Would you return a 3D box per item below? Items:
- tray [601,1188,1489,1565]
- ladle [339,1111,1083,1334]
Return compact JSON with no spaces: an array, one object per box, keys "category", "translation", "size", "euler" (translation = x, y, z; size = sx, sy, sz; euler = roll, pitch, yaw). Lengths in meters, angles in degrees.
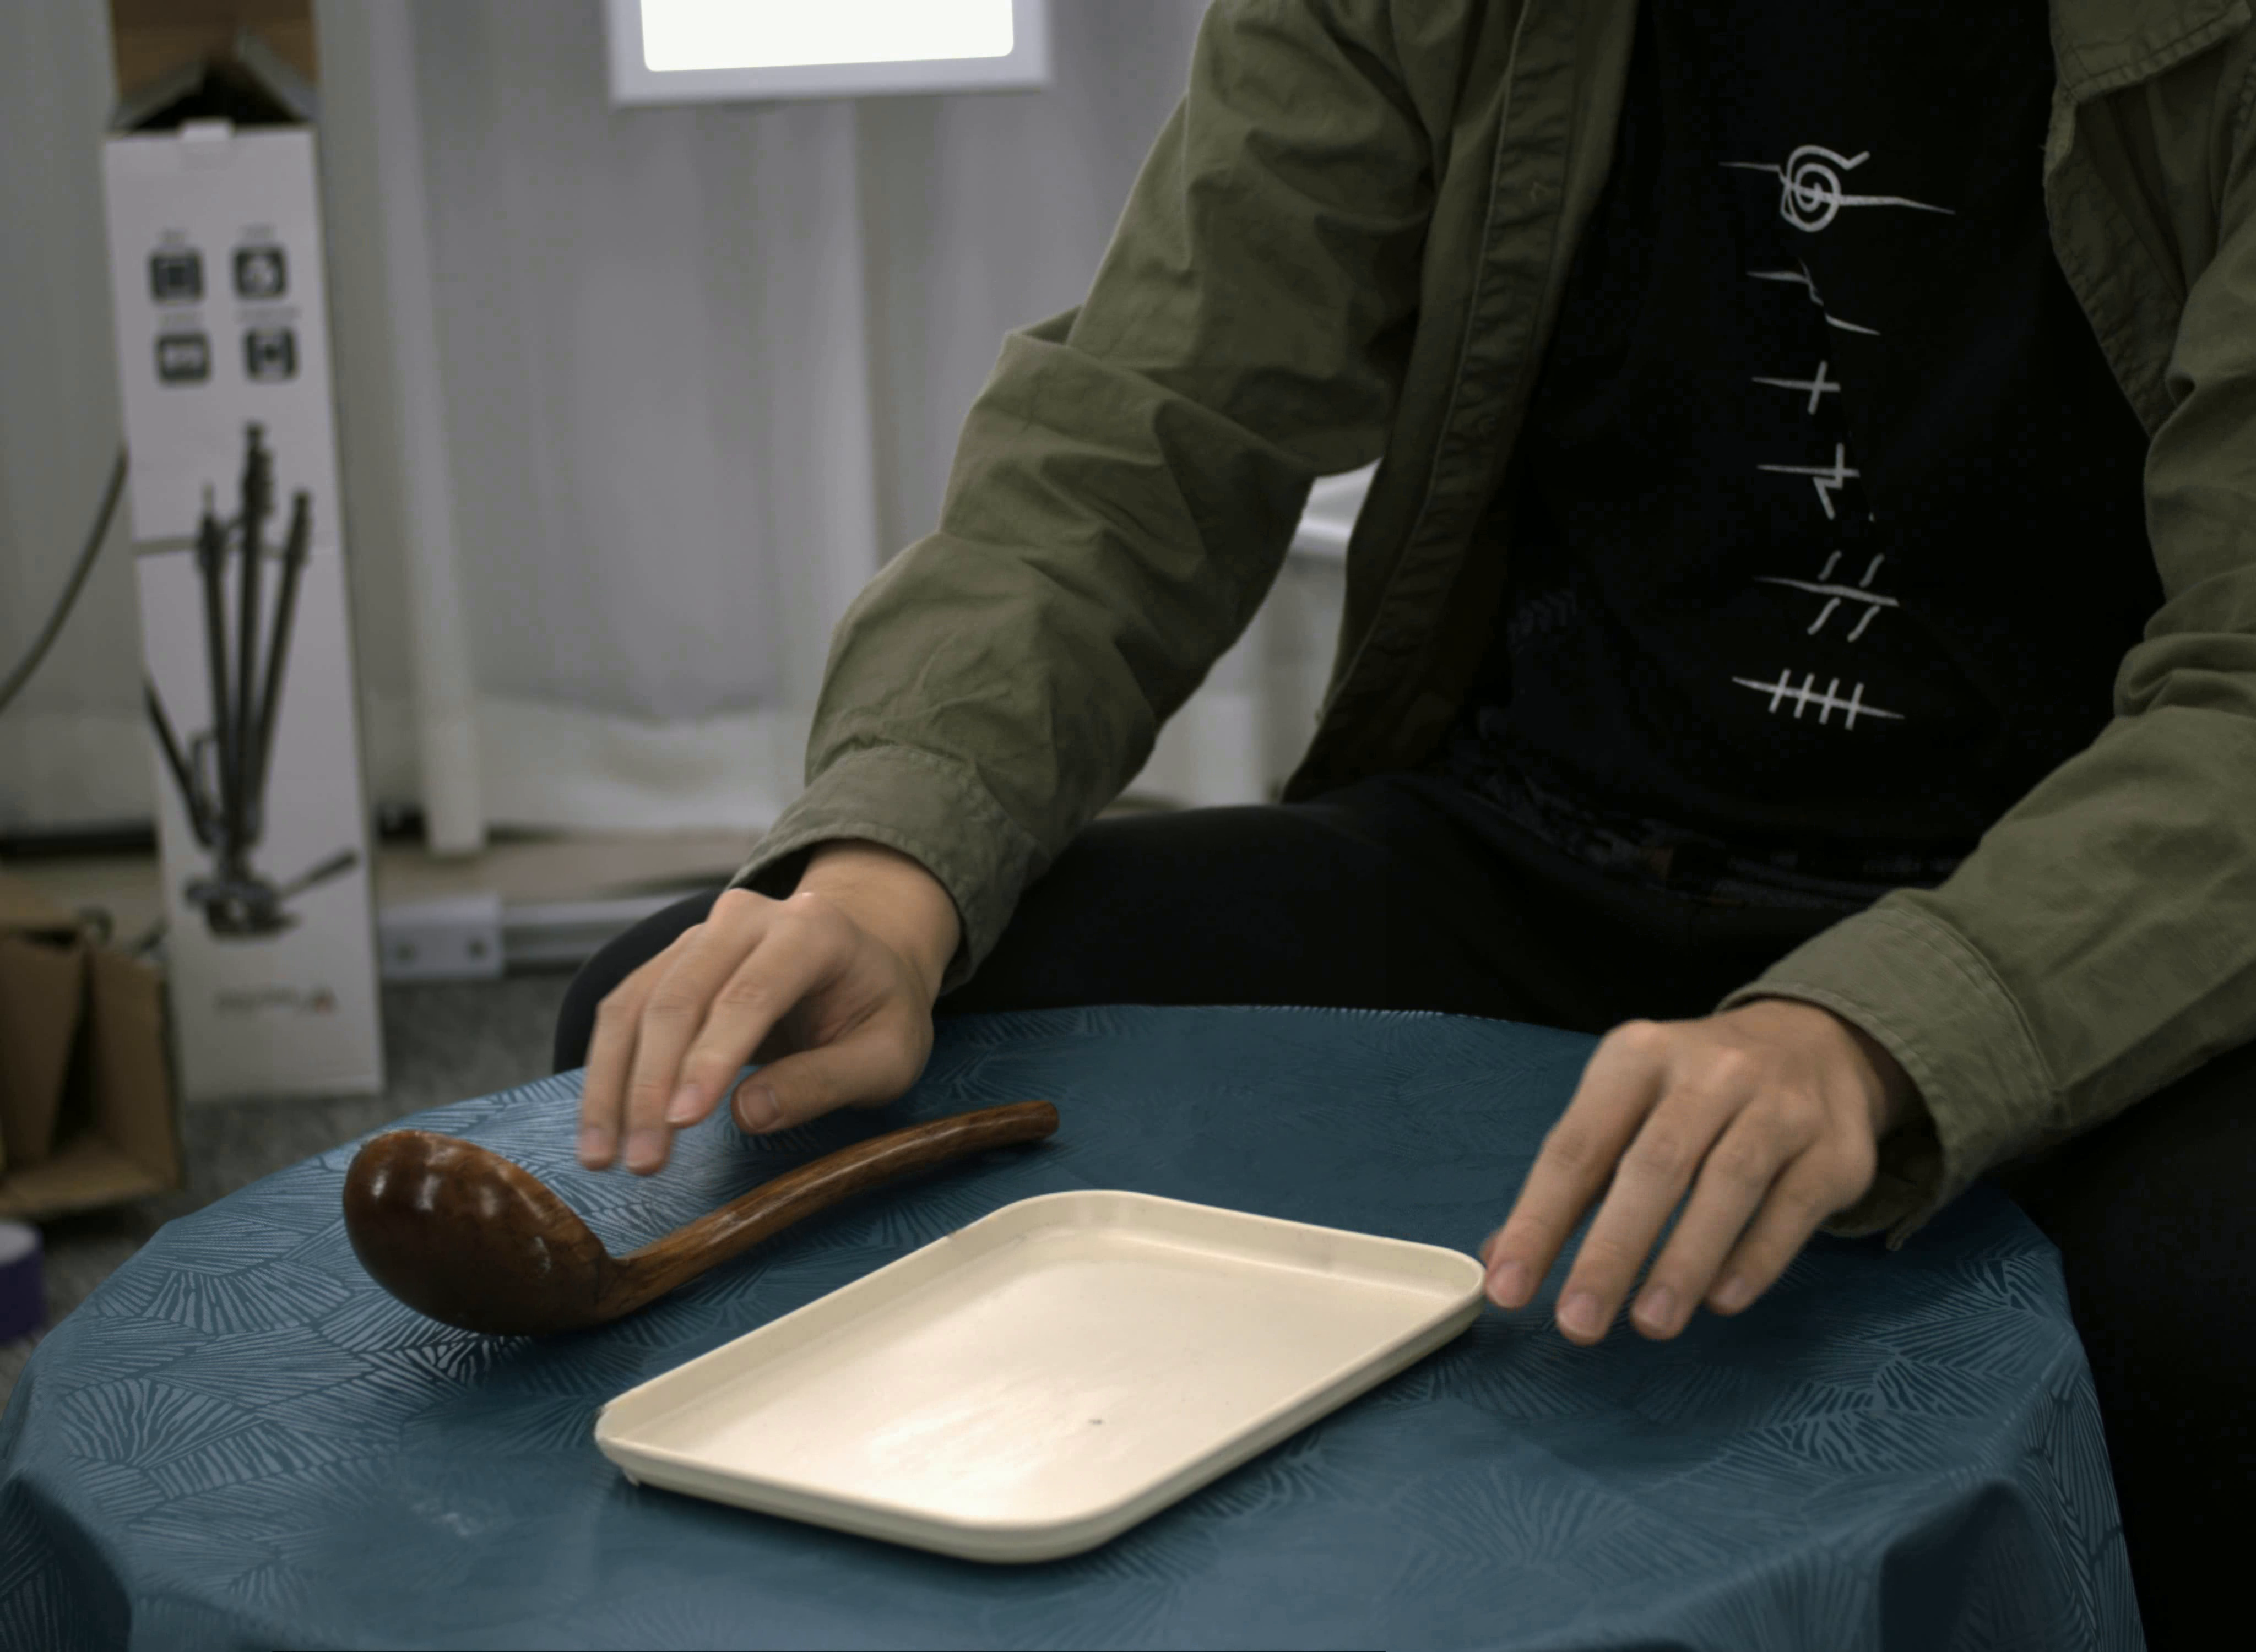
[{"category":"tray","translation":[-0.020,0.153,1.541],"size":[0.172,0.017,0.239],"euler":[8,18,35]},{"category":"ladle","translation":[-0.122,0.095,1.668],"size":[0.082,0.076,0.273],"euler":[-5,9,44]}]
